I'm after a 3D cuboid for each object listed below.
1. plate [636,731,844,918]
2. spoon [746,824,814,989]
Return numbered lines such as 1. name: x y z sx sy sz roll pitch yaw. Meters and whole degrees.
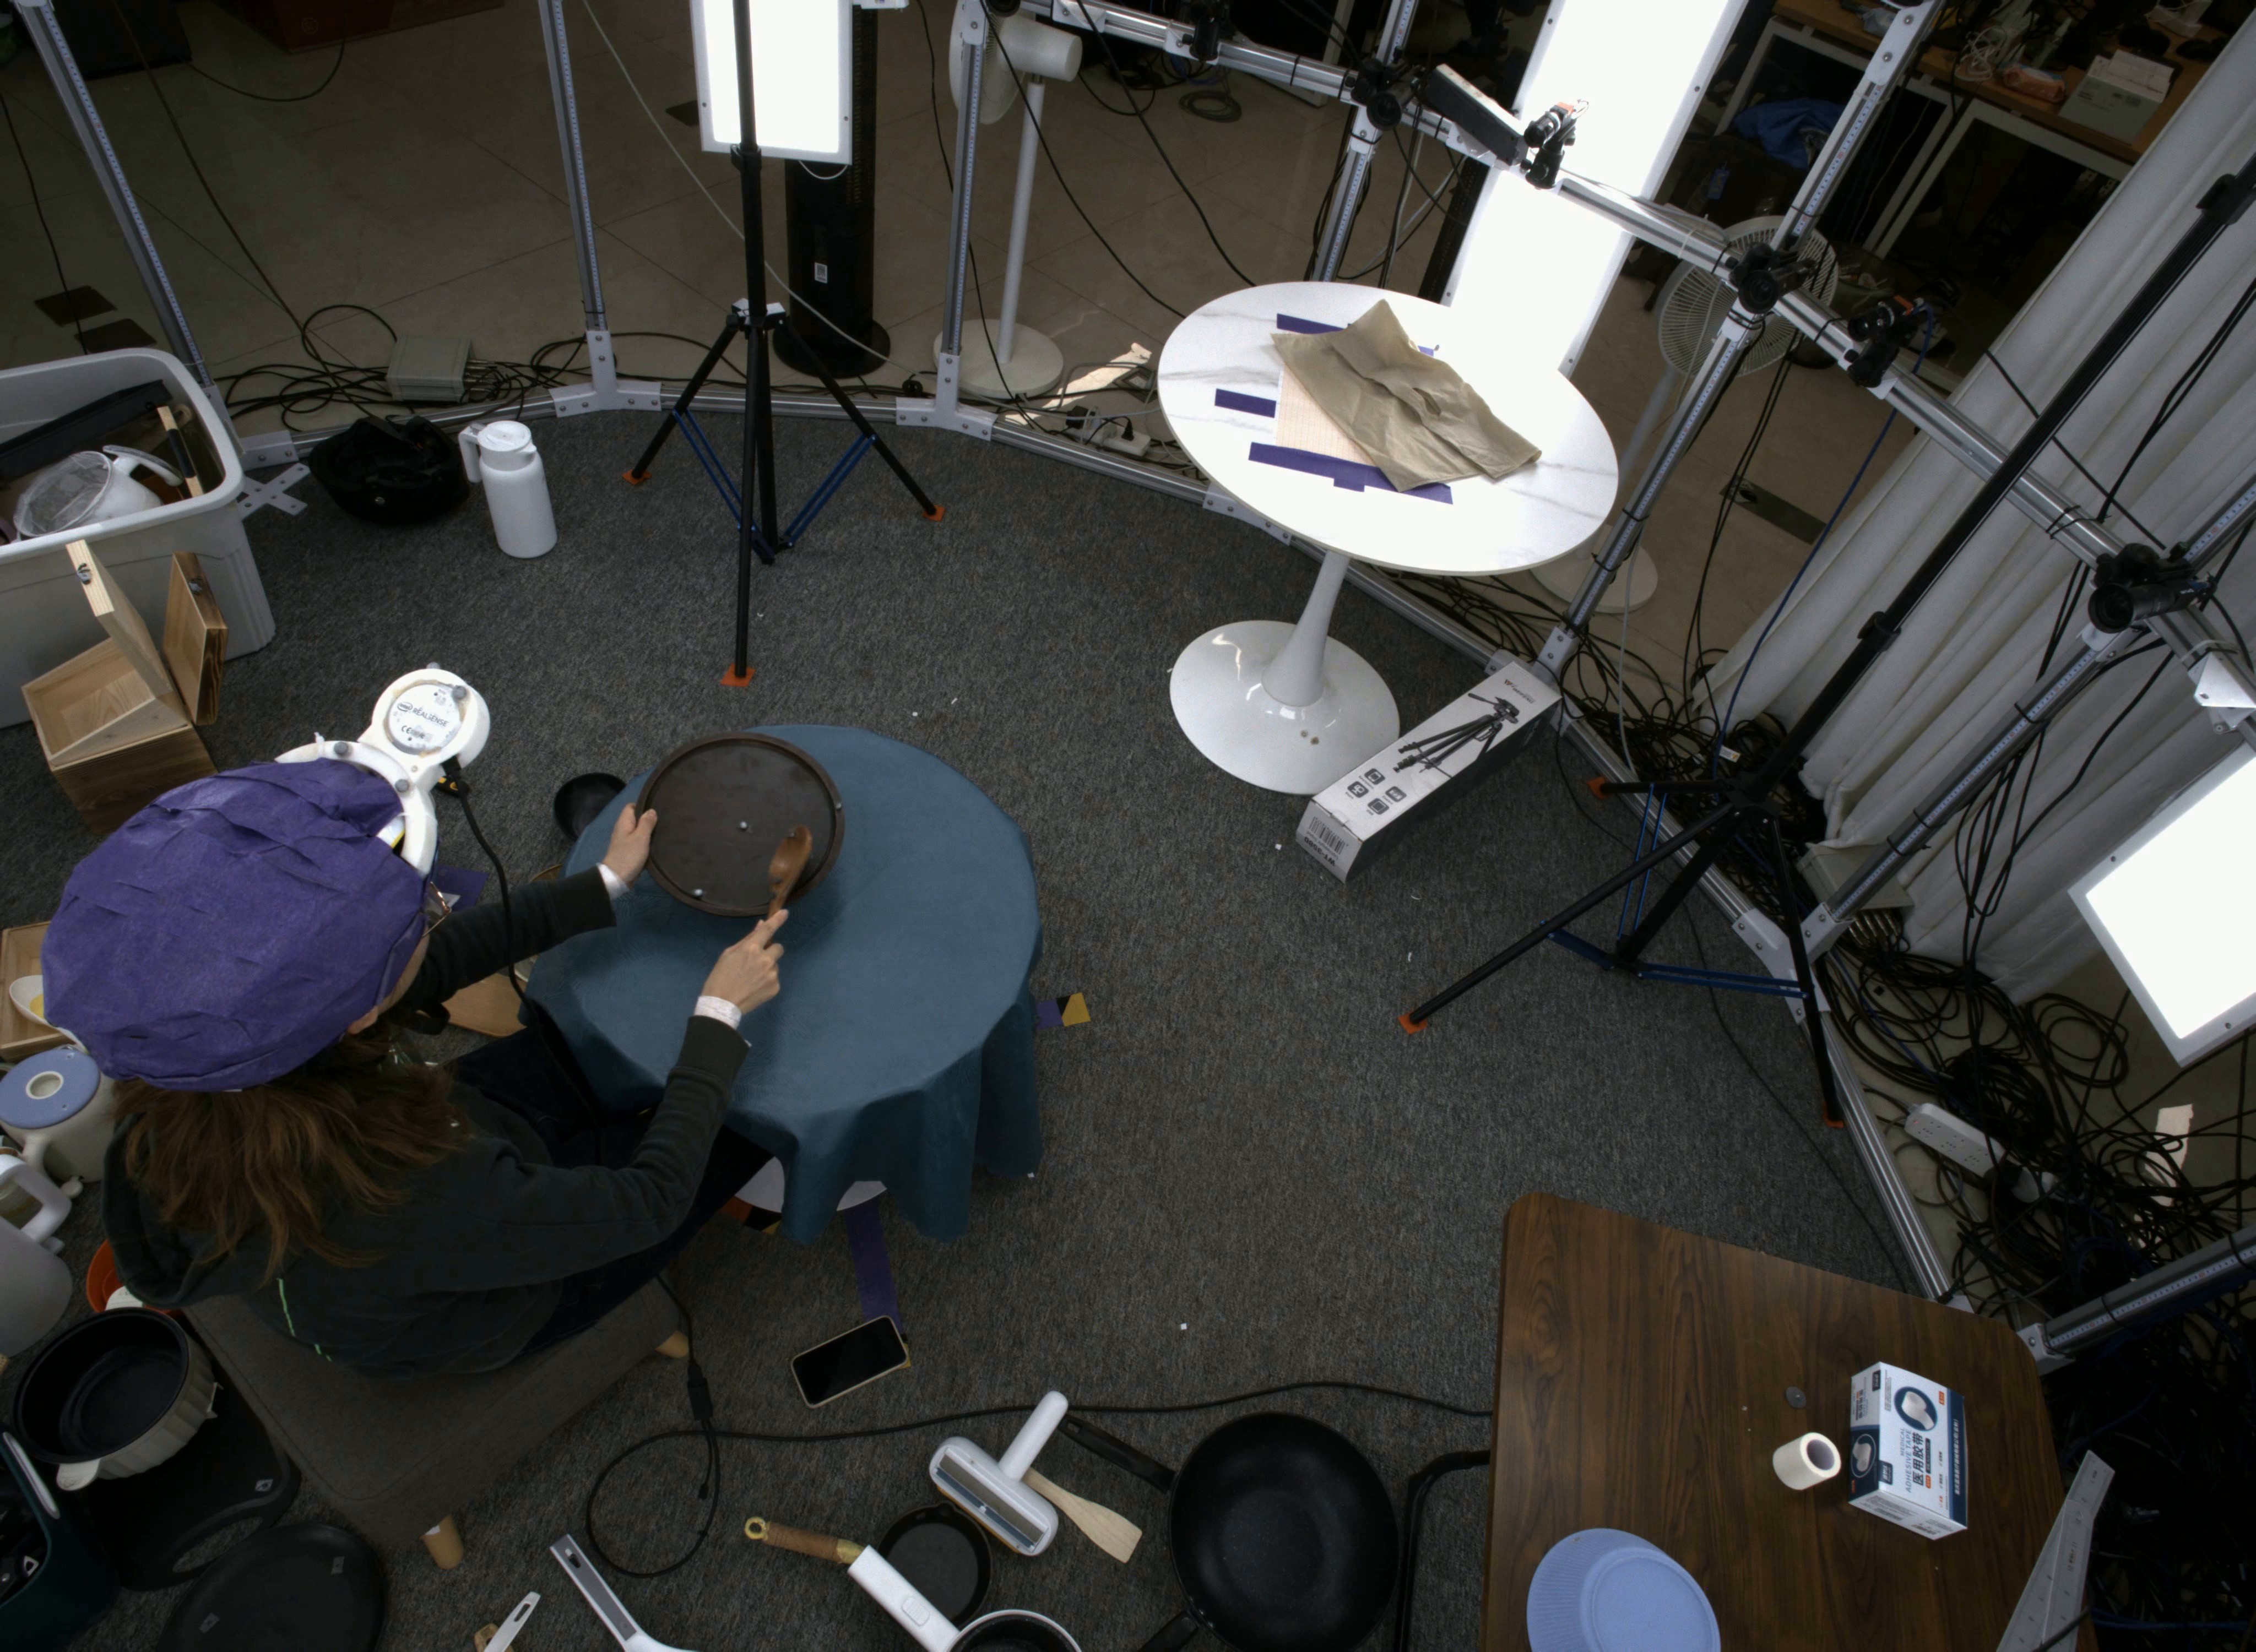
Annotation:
1. plate: -0.479 -0.005 1.596 0.256 0.029 0.252 8 63 -14
2. spoon: -0.415 0.091 1.534 0.018 0.074 0.213 37 50 -38
